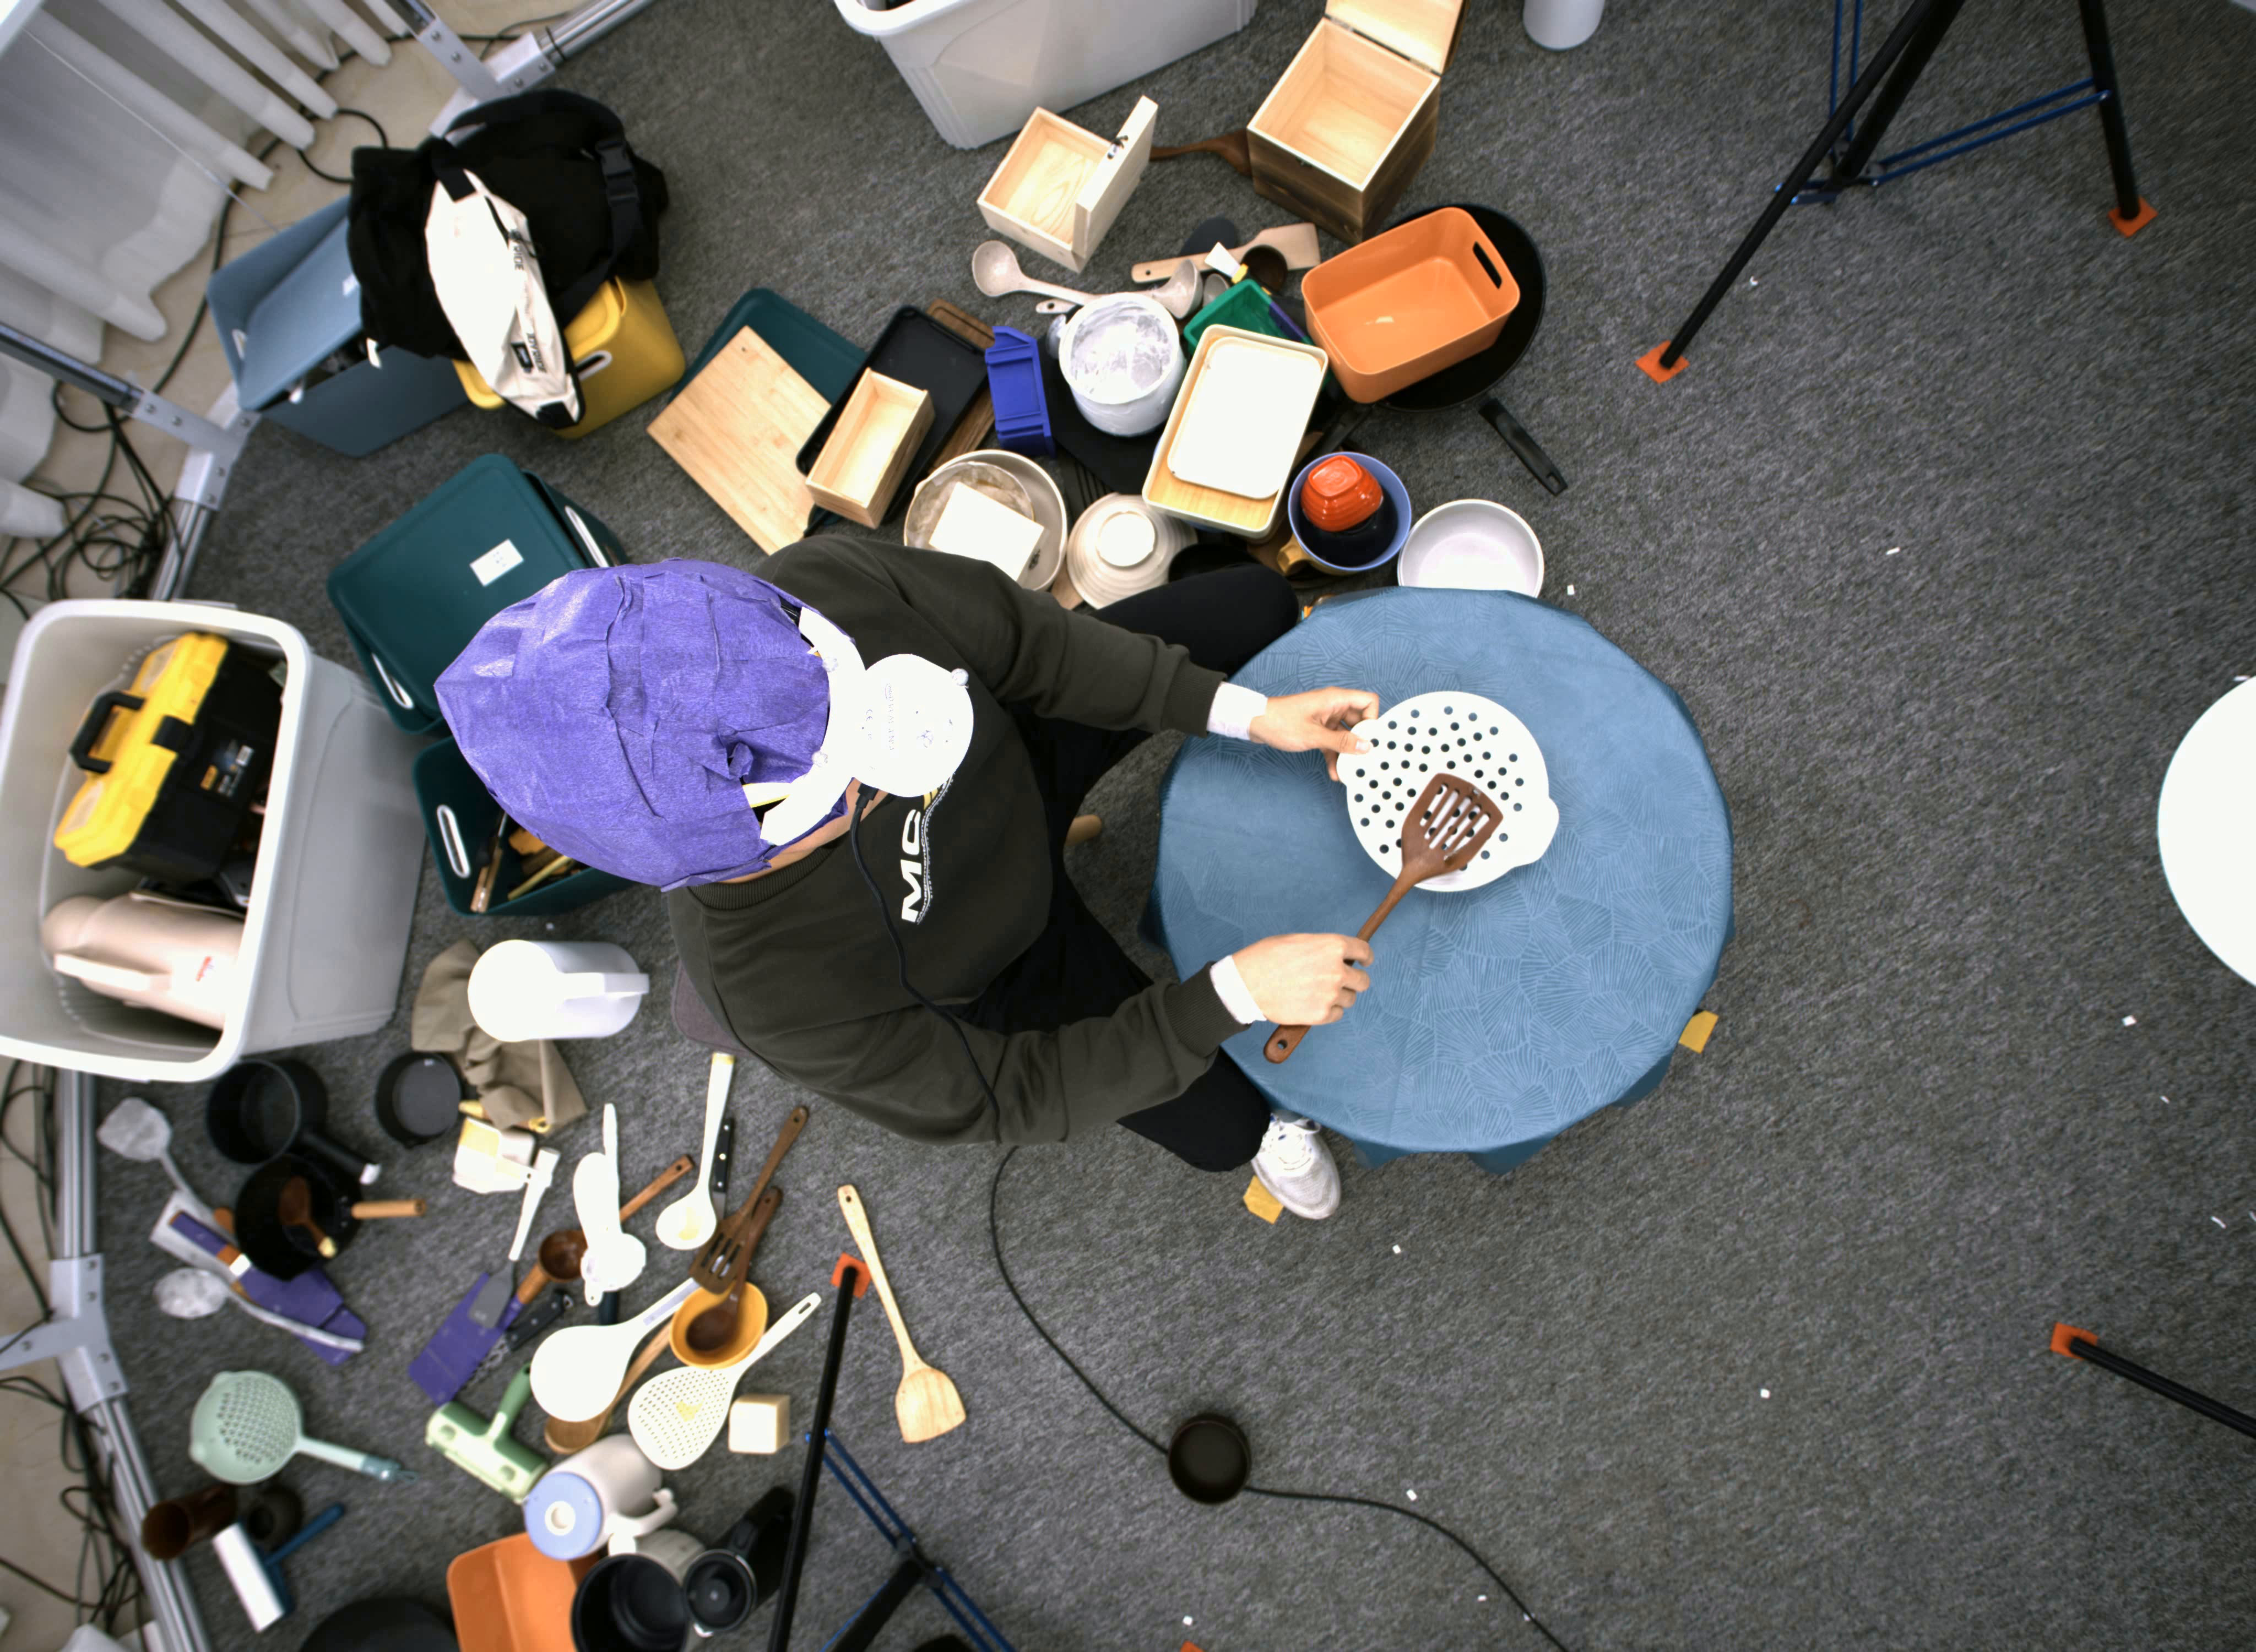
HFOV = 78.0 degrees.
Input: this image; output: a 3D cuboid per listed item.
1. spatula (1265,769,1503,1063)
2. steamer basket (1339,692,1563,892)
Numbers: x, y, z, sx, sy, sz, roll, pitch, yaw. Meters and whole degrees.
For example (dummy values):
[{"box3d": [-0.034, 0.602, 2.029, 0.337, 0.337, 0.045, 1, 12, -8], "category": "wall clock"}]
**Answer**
[{"box3d": [0.242, 0.085, 1.328, 0.085, 0.024, 0.377, 37, 62, 10], "category": "spatula"}, {"box3d": [0.328, -0.036, 1.412, 0.230, 0.069, 0.203, 25, 96, 5], "category": "steamer basket"}]
